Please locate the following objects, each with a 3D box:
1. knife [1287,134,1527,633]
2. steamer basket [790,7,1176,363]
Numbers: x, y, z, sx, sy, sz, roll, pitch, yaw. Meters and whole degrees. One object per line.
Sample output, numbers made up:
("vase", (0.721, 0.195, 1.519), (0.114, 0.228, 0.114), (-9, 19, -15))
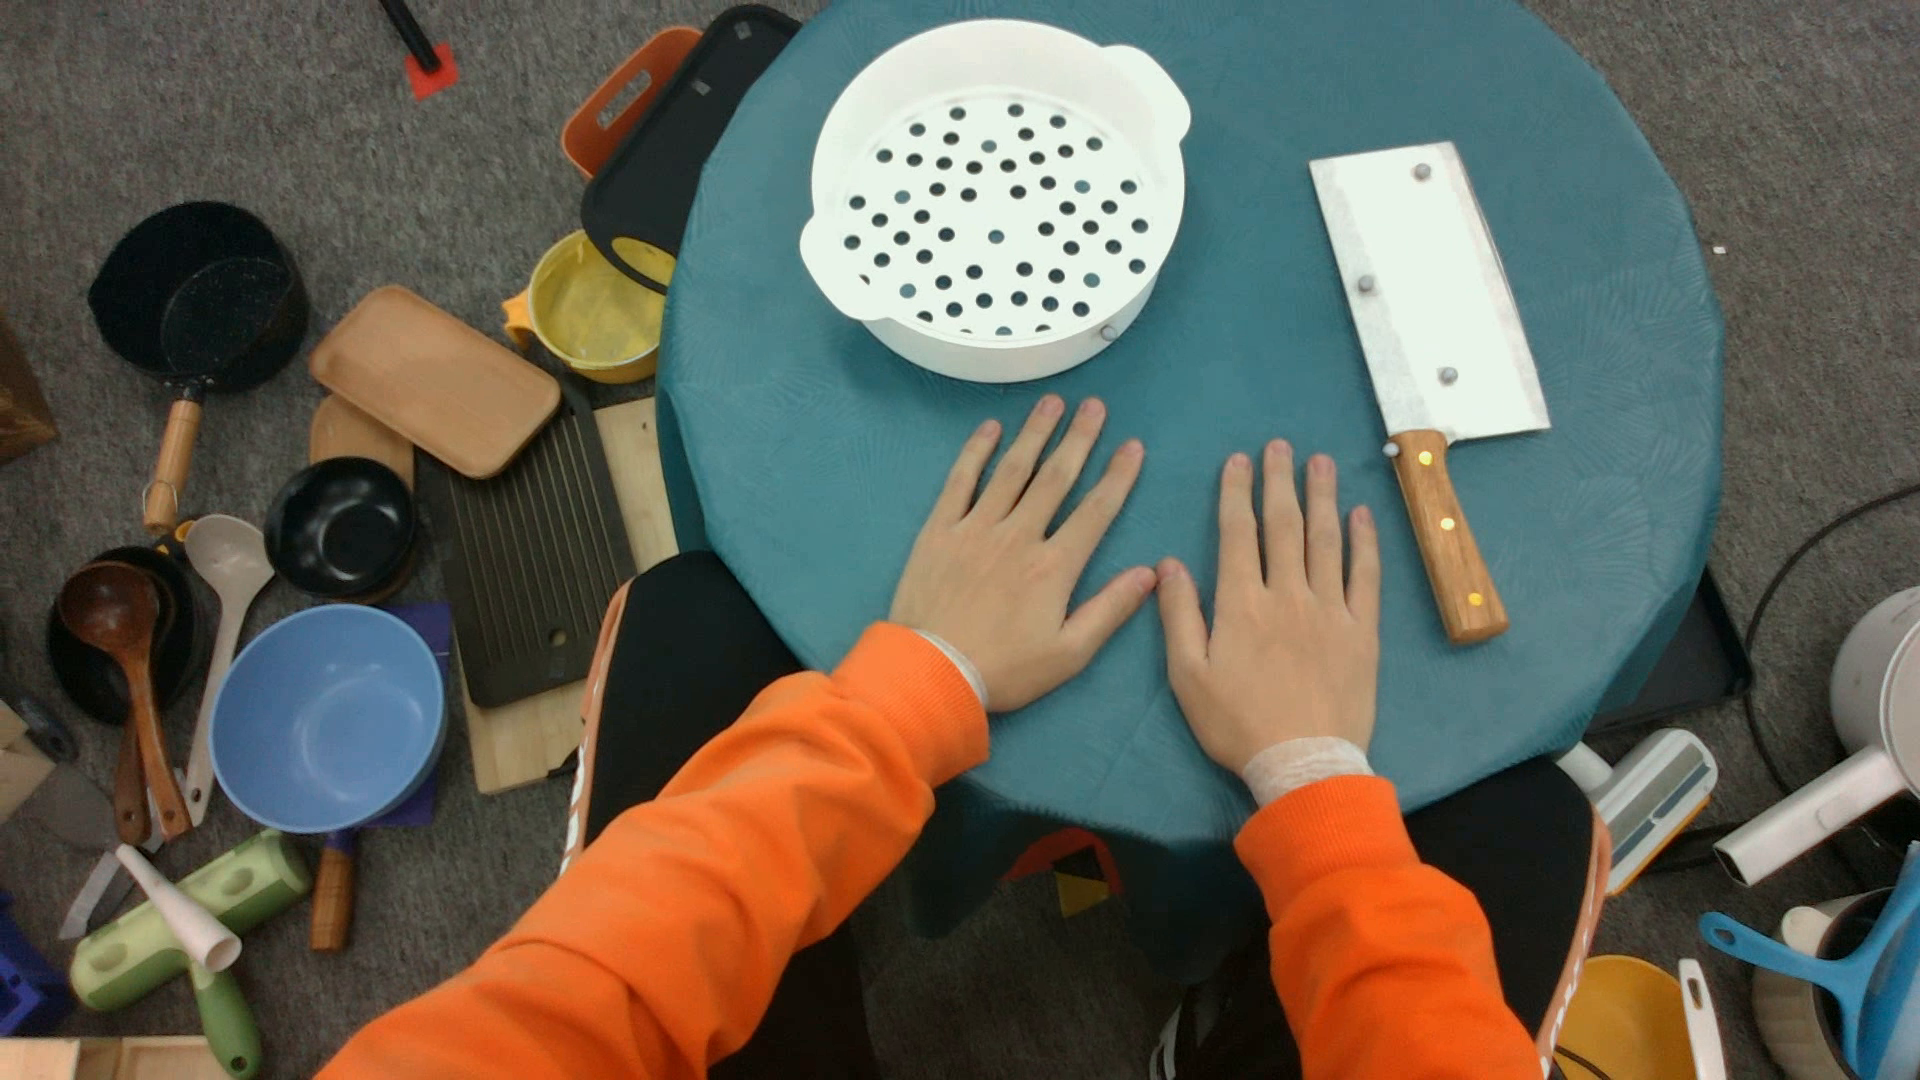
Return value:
("knife", (0.263, -0.099, 0.769), (0.093, 0.021, 0.306), (-9, 70, -5))
("steamer basket", (0.014, -0.197, 0.772), (0.231, 0.069, 0.202), (-33, 76, -12))
